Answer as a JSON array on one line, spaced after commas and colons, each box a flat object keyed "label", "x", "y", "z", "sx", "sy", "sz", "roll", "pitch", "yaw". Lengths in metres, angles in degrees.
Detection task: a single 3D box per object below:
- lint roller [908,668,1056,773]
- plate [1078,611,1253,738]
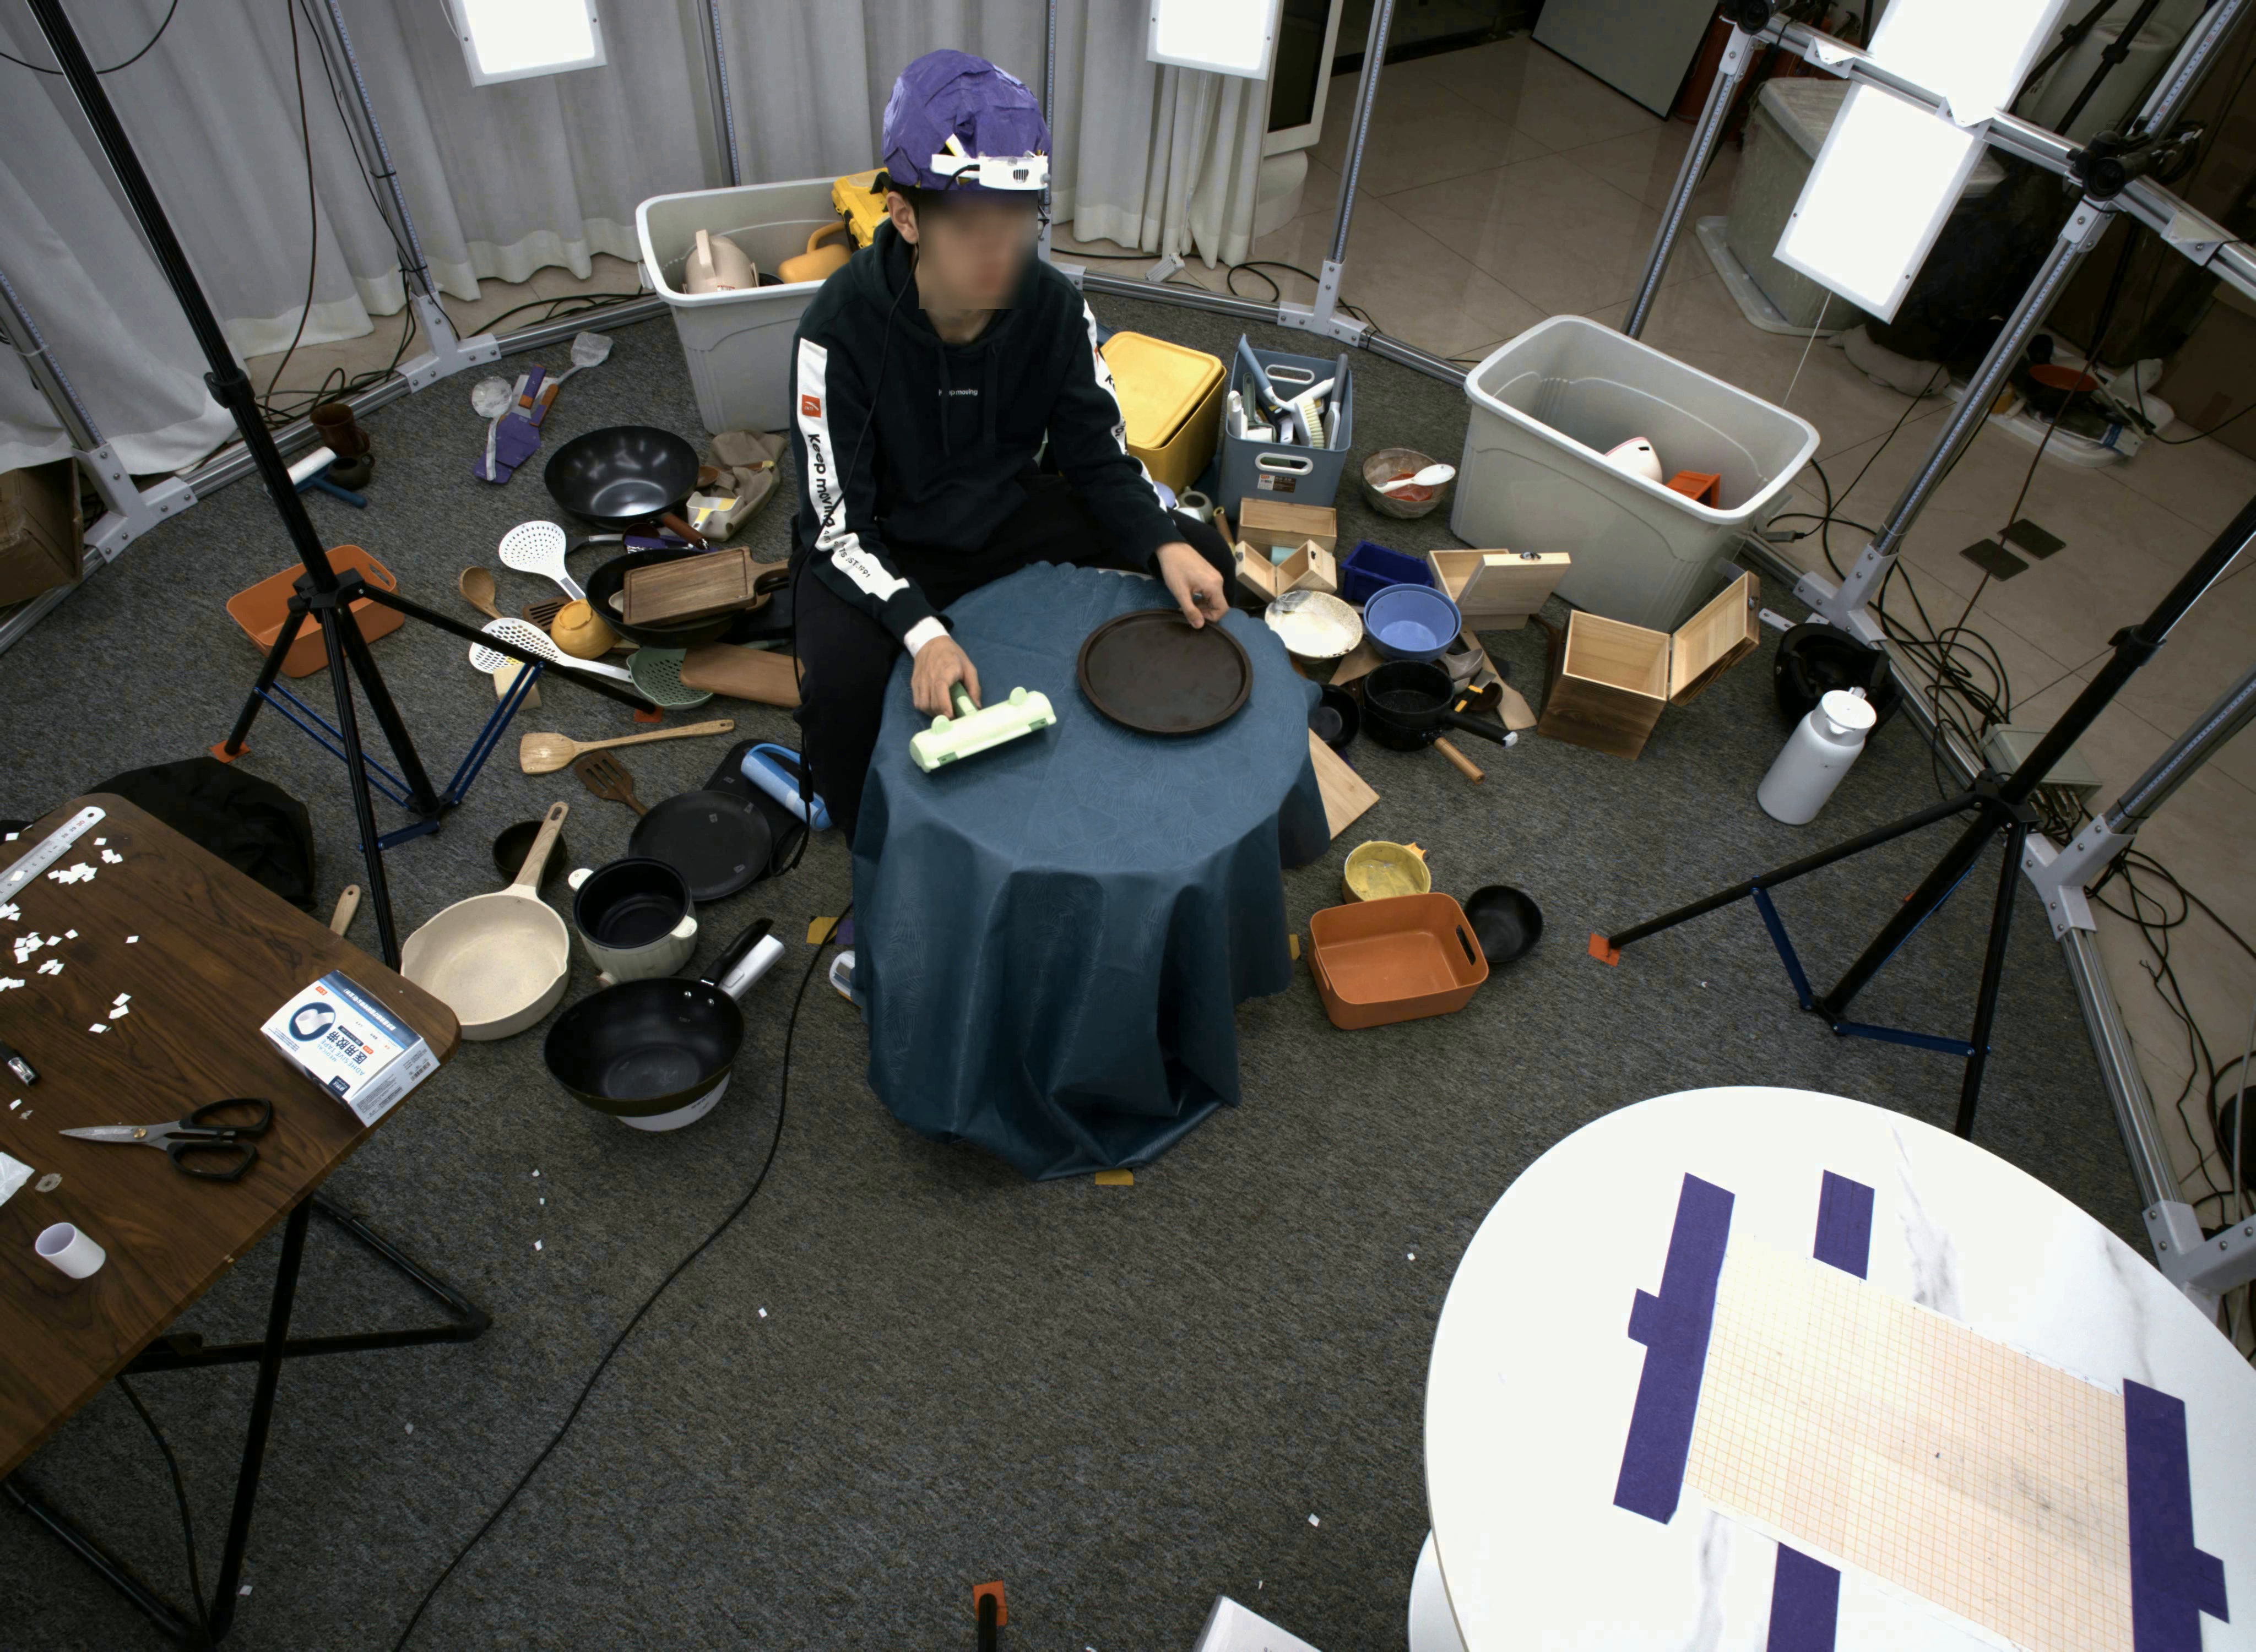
[{"label": "lint roller", "x": -0.223, "y": -0.172, "z": 1.750, "sx": 0.199, "sy": 0.080, "sz": 0.187, "roll": -23, "pitch": 58, "yaw": -22}, {"label": "plate", "x": 0.054, "y": -0.220, "z": 1.847, "sx": 0.254, "sy": 0.028, "sz": 0.261, "roll": 1, "pitch": 50, "yaw": -2}]
